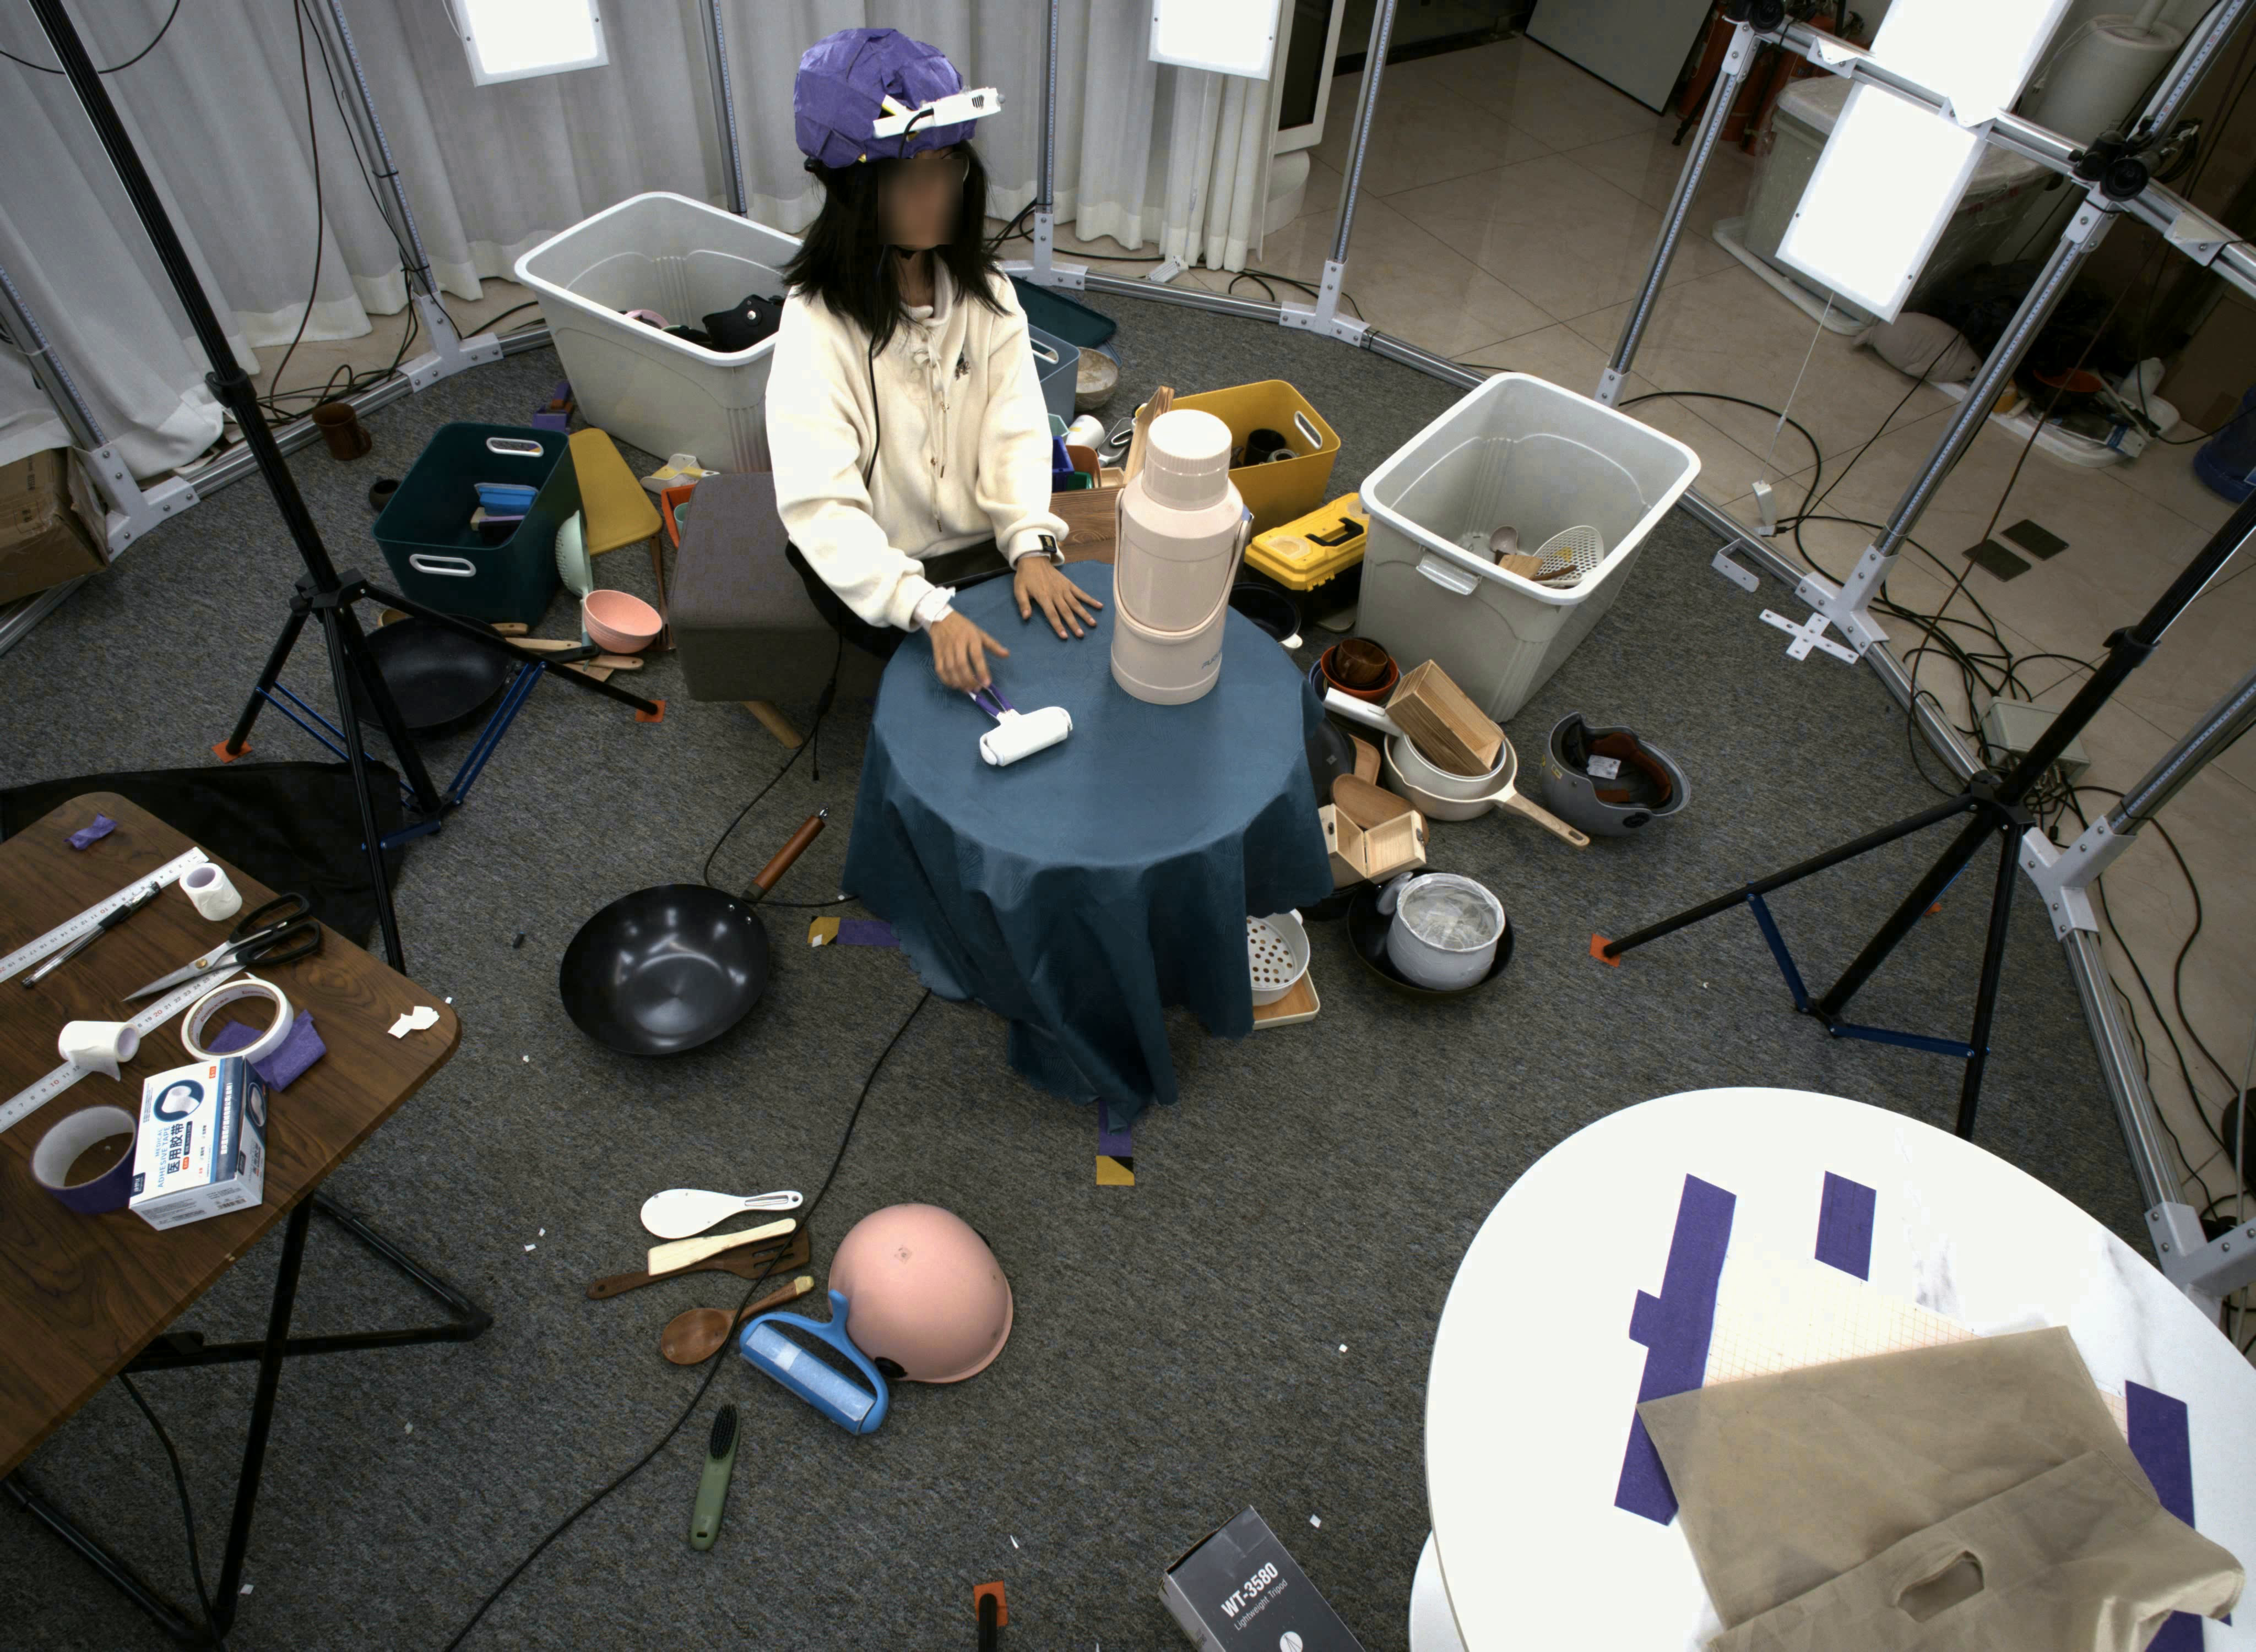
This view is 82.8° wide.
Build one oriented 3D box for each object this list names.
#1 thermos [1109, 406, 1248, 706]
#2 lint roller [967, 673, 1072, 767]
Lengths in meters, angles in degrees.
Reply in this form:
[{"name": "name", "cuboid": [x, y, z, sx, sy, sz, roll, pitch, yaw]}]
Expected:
[{"name": "thermos", "cuboid": [0.070, -0.366, 1.737, 0.176, 0.396, 0.211, 17, 50, 10]}, {"name": "lint roller", "cuboid": [-0.170, -0.165, 1.771, 0.133, 0.049, 0.184, -24, 57, -22]}]
